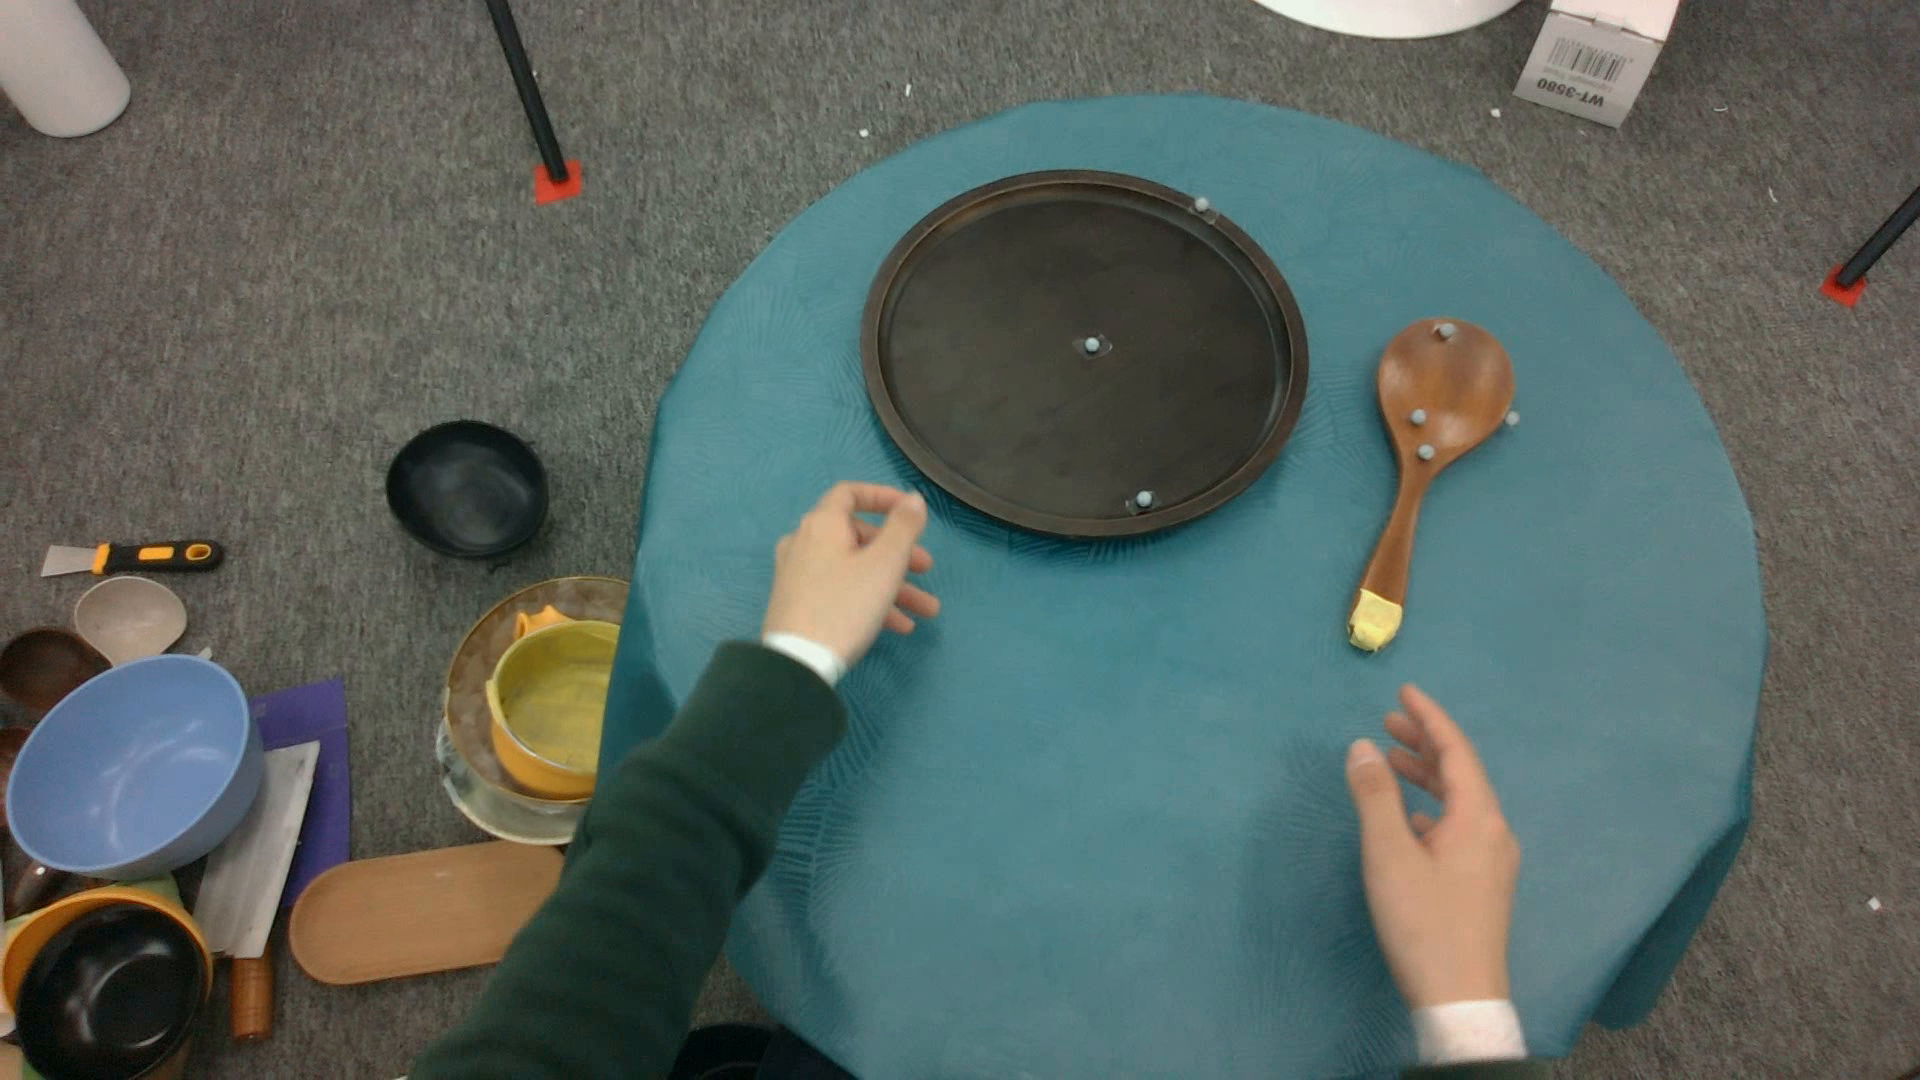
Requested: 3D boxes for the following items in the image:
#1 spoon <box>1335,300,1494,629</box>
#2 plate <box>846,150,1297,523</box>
[{"bbox_3d":[0.239,-0.045,0.748,0.075,0.017,0.217,20,63,8],"label":"spoon"},{"bbox_3d":[0.062,-0.119,0.779,0.255,0.029,0.256,1,61,-1],"label":"plate"}]
